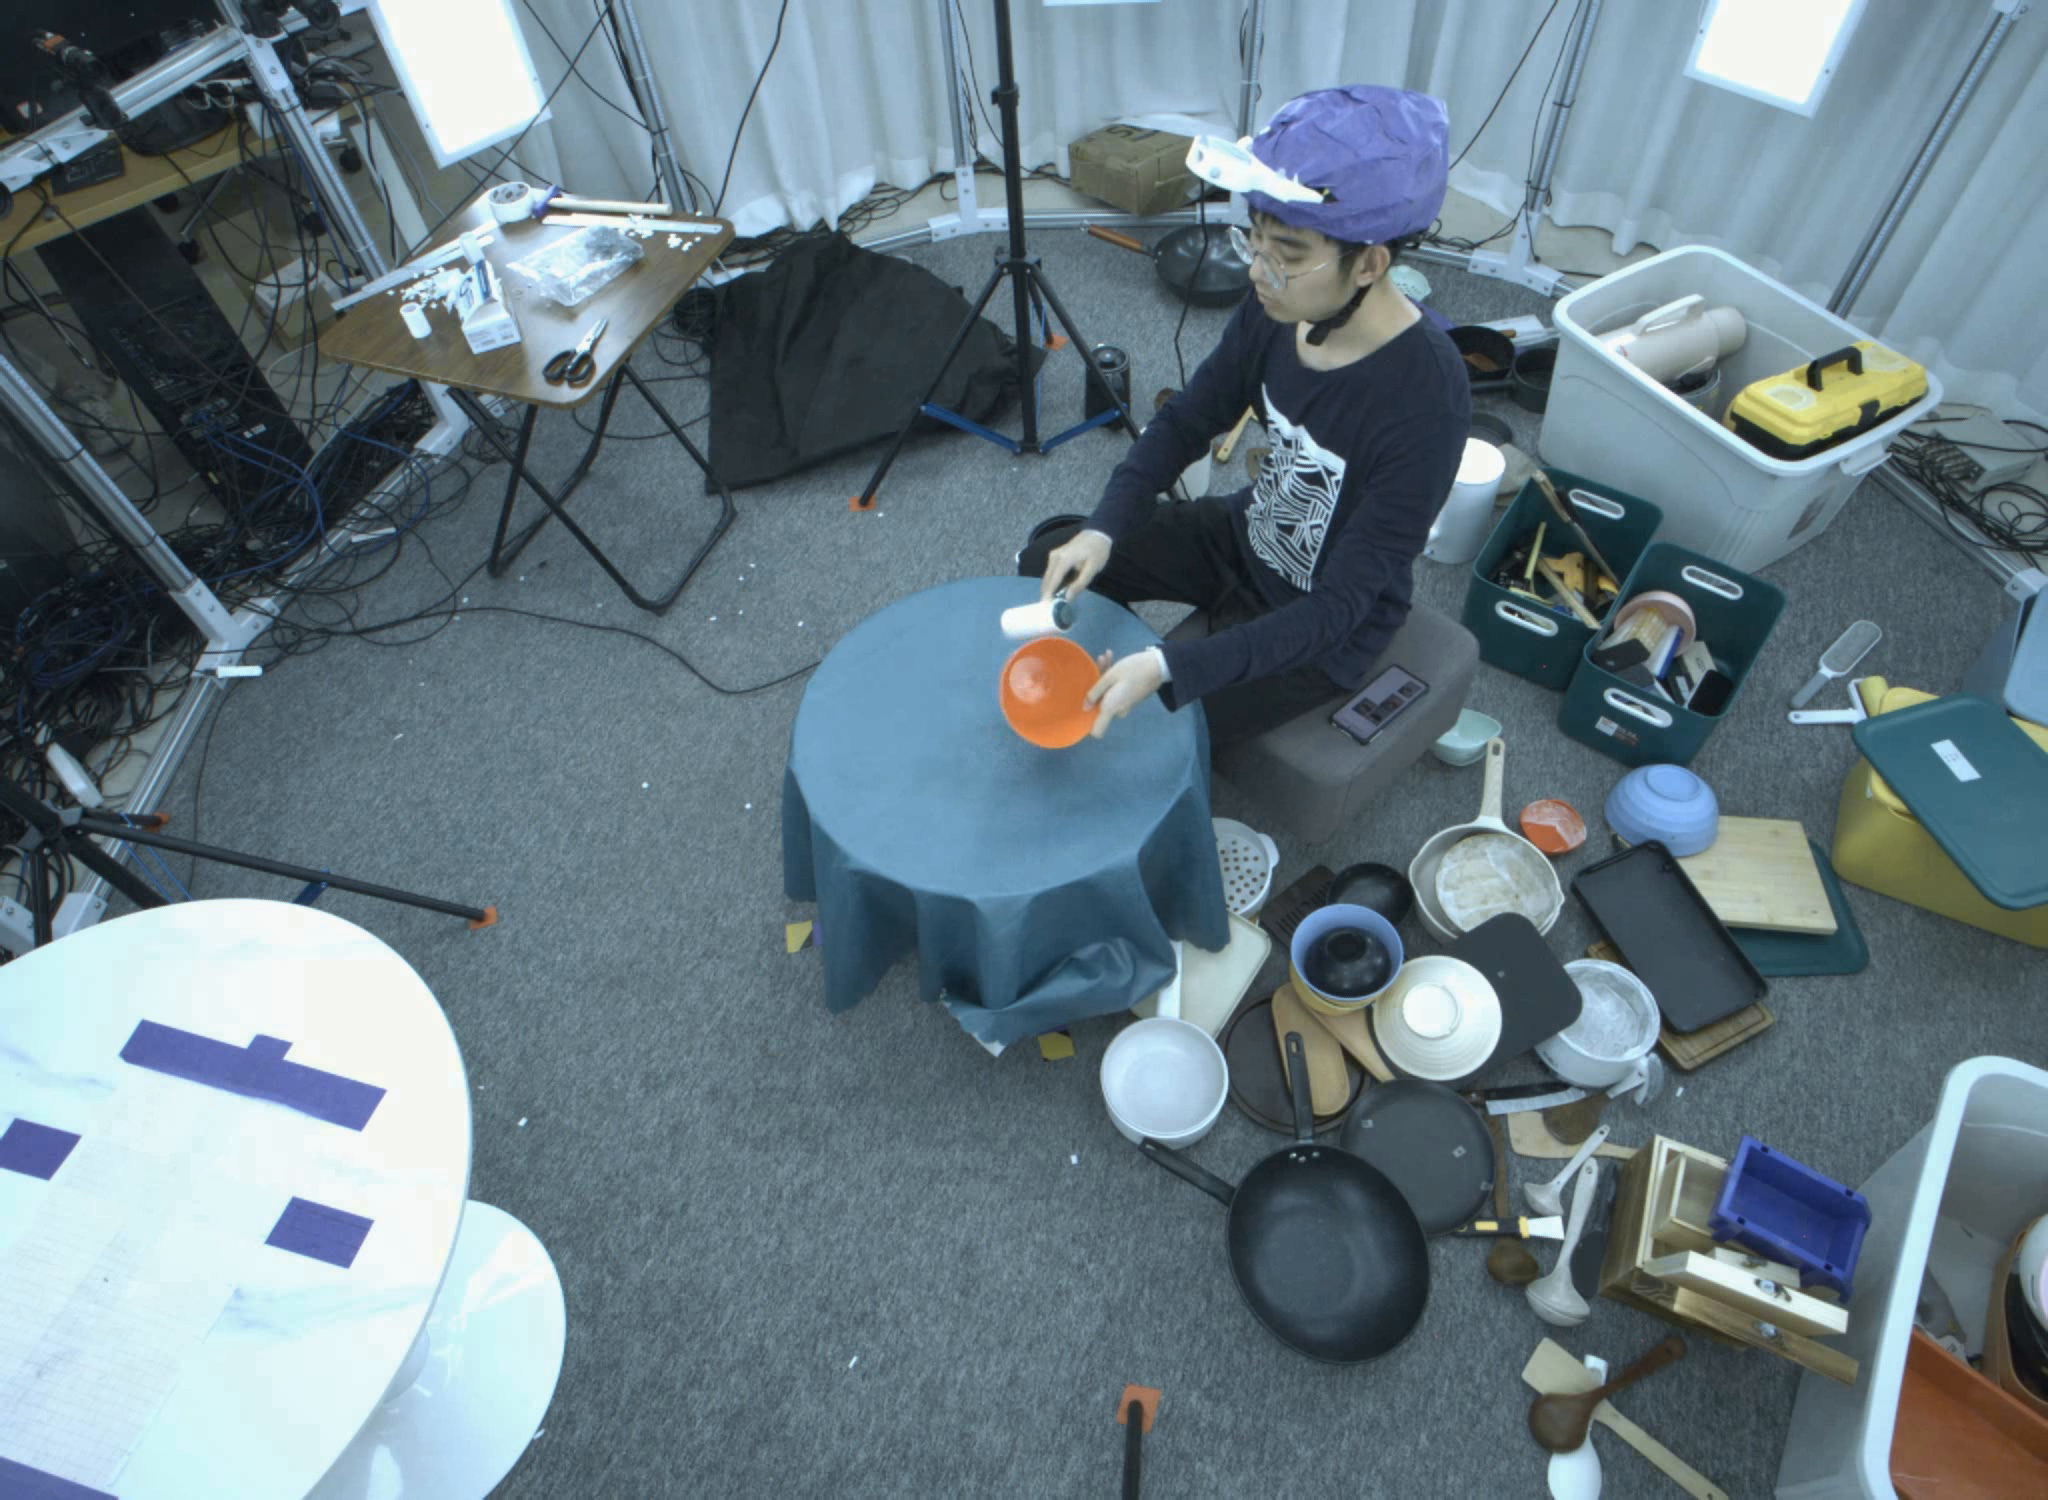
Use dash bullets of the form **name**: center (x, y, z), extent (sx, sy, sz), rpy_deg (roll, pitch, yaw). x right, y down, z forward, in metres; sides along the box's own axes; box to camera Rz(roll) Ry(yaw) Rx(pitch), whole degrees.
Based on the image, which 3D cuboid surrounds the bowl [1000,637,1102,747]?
- **bowl**: center (0.024, -0.084, 1.699), extent (0.149, 0.149, 0.102), rpy_deg (-29, 19, -17)

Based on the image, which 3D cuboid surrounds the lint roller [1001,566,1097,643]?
- **lint roller**: center (0.053, -0.228, 1.786), extent (0.131, 0.049, 0.180), rpy_deg (-6, 41, 43)
